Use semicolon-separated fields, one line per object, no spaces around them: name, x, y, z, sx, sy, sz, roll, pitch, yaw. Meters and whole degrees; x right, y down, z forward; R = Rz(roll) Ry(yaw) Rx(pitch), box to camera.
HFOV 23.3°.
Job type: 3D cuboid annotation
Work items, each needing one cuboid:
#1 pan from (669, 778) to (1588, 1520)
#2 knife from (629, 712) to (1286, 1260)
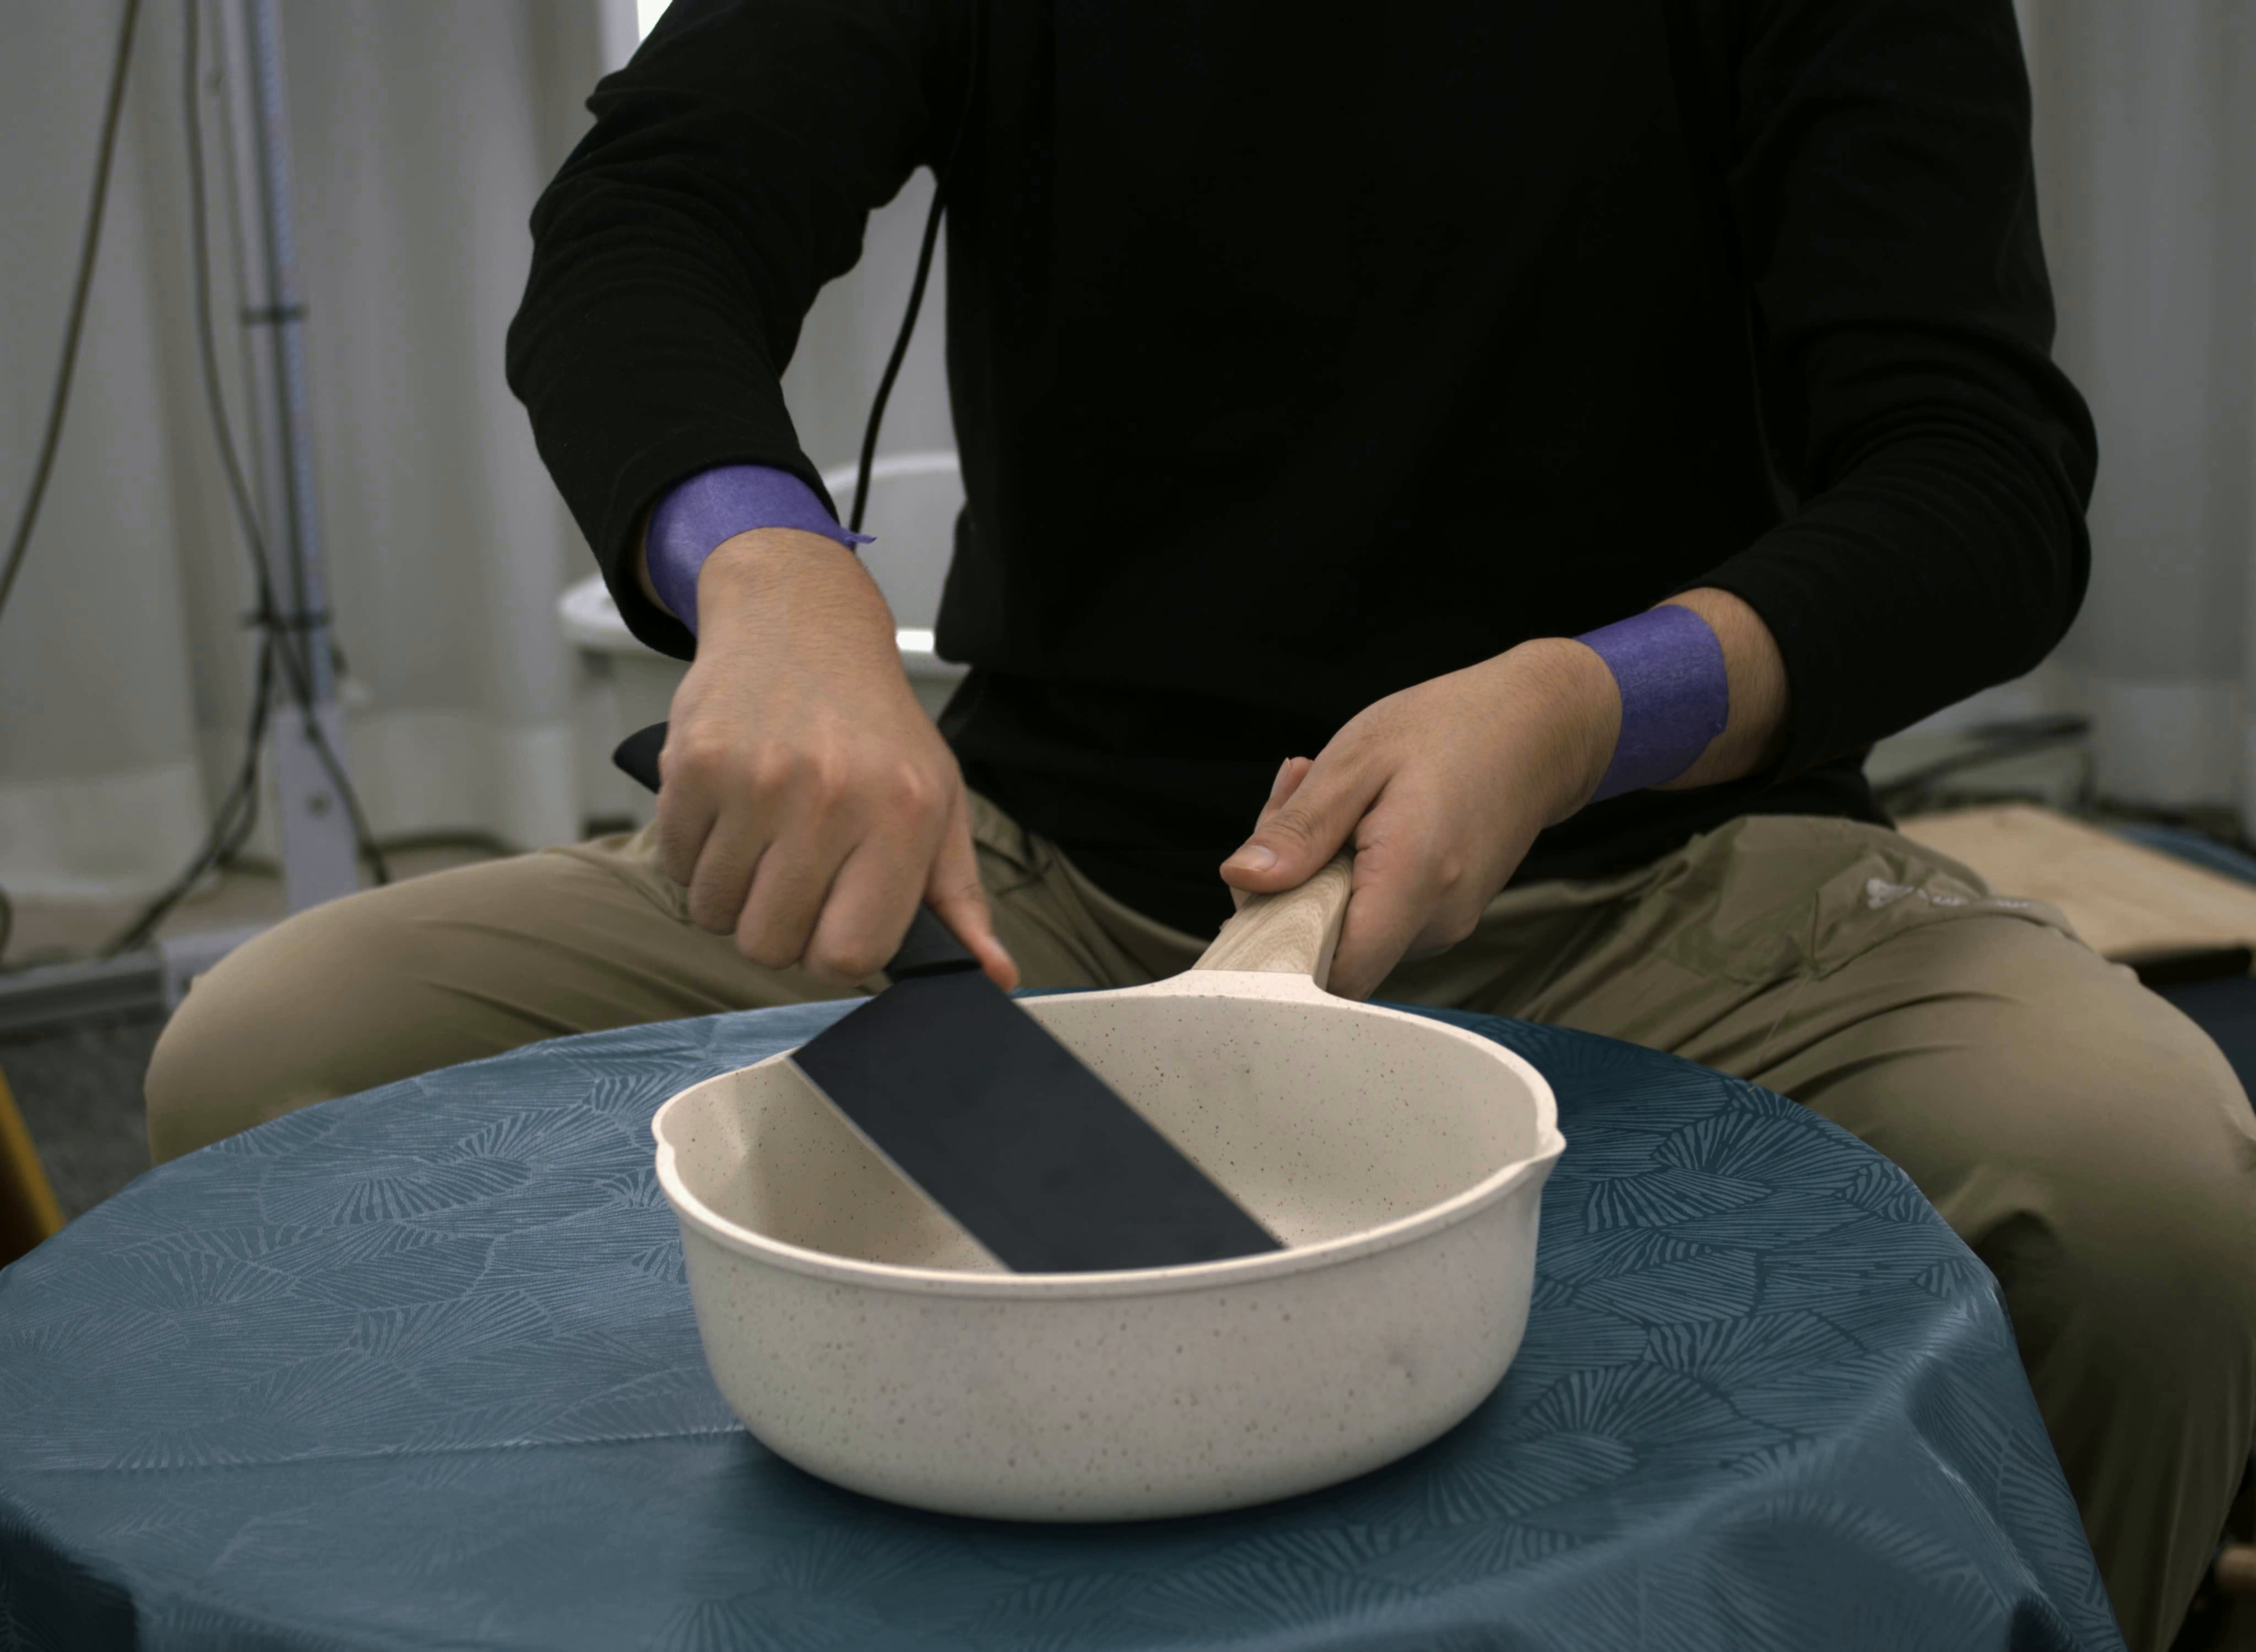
pan;0.027;0.090;1.611;0.263;0.101;0.436;0;15;17
knife;-0.047;0.065;1.574;0.081;0.020;0.306;-28;56;-27
